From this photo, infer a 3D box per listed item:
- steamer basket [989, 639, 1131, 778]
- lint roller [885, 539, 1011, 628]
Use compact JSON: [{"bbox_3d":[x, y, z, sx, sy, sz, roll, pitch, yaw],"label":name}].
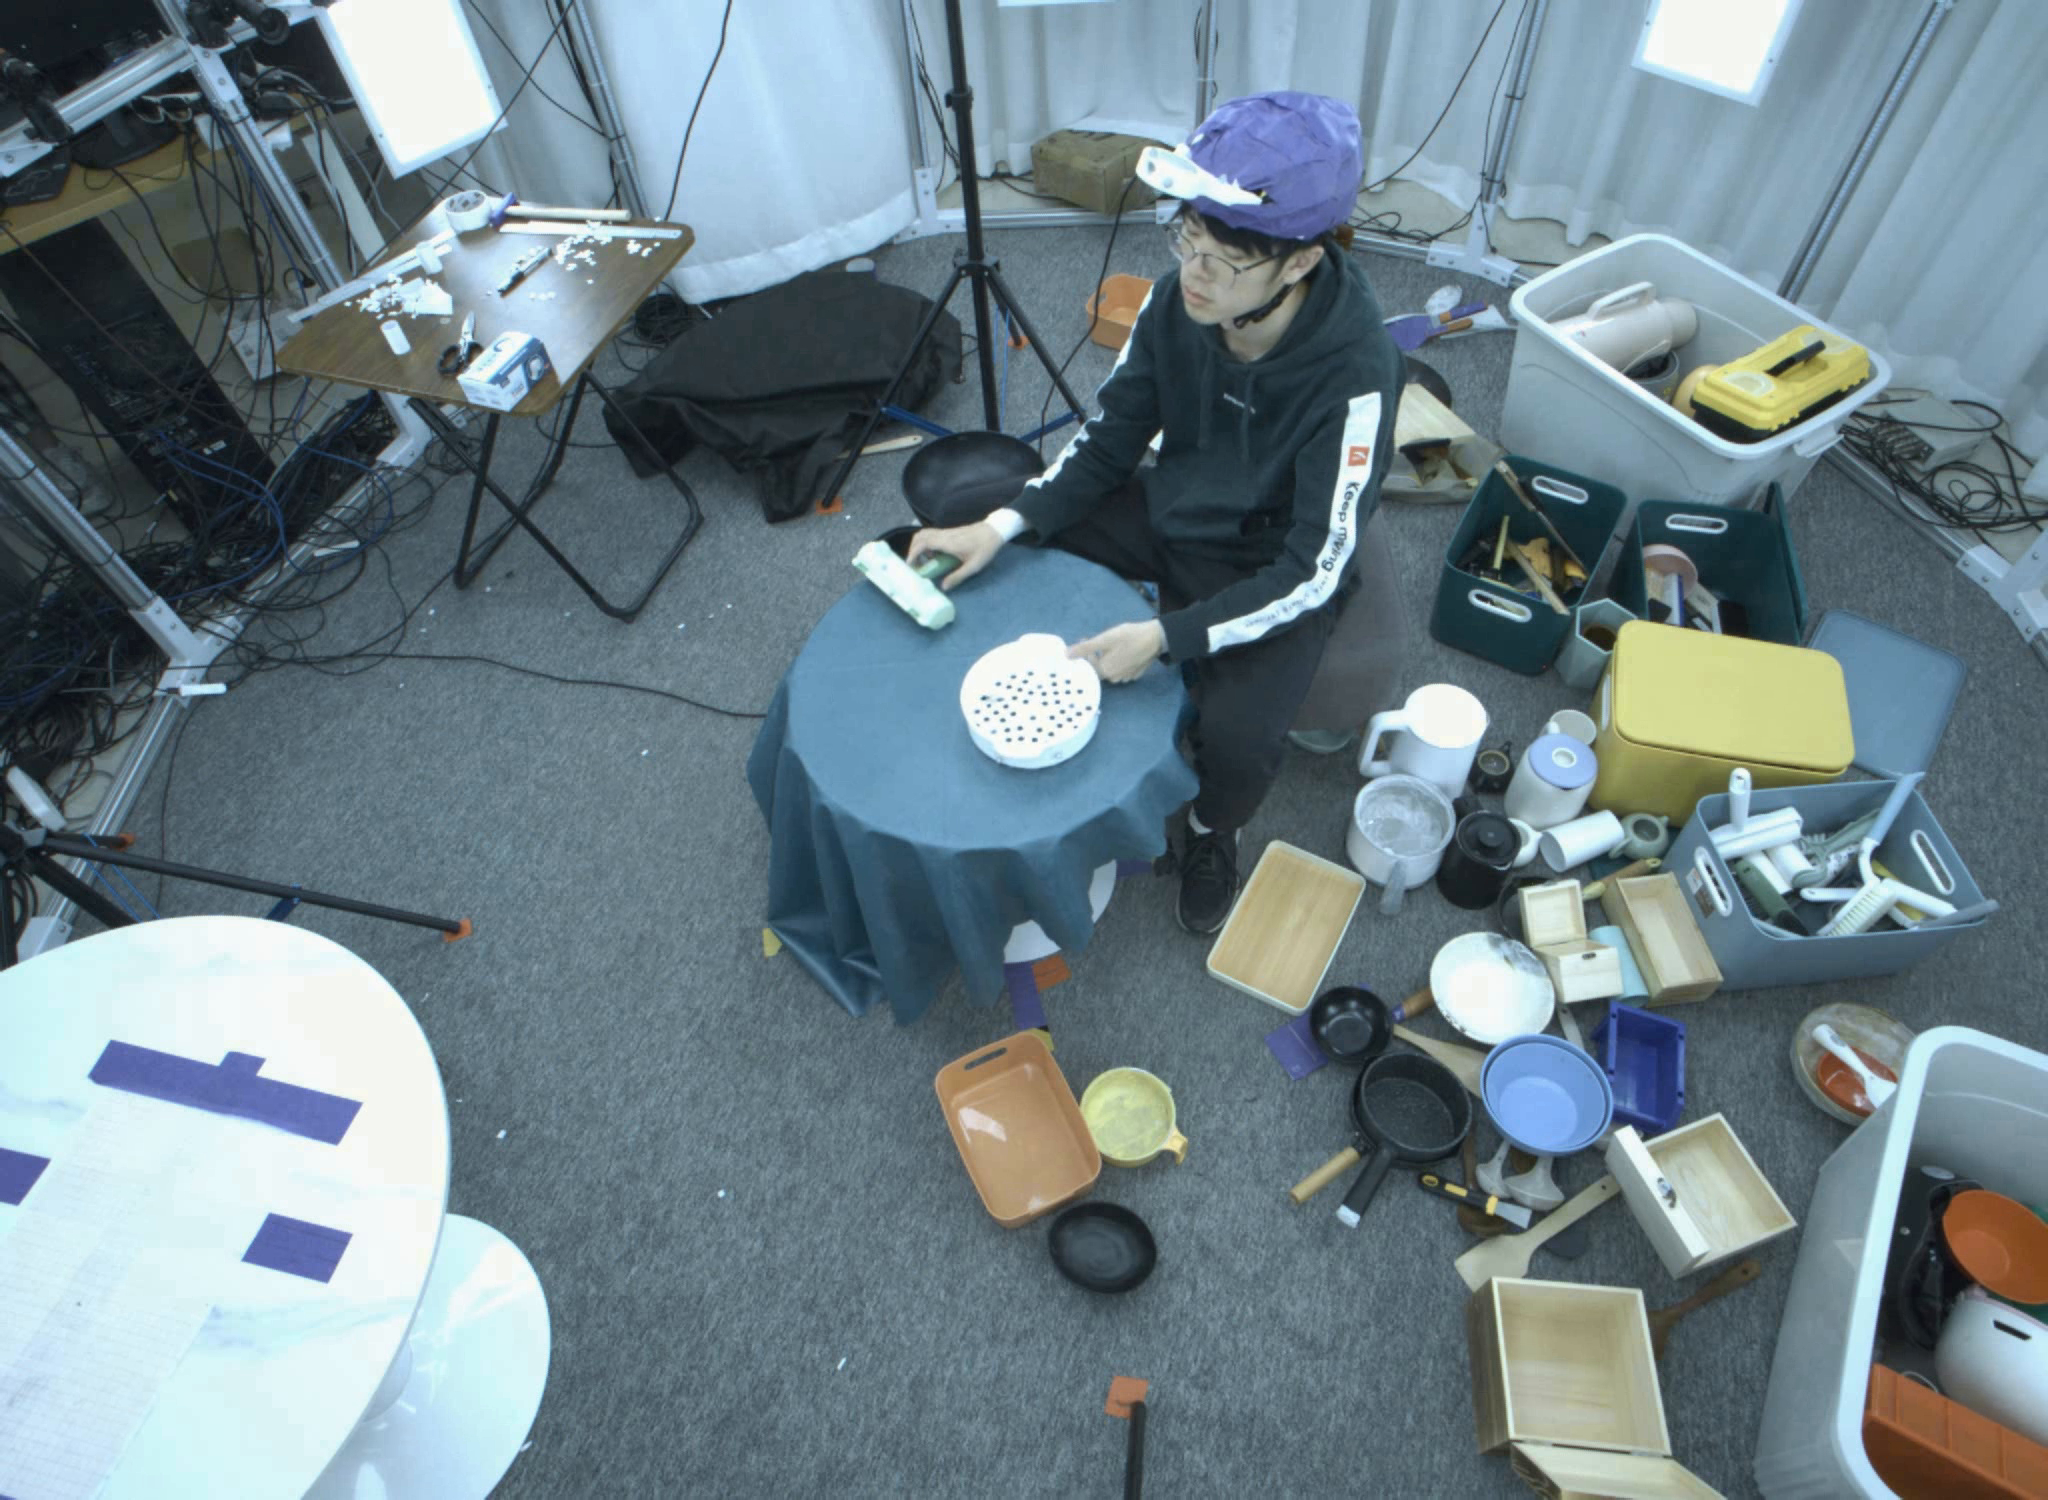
[{"bbox_3d":[0.053,-0.055,1.777,0.201,0.070,0.229,7,57,8],"label":"steamer basket"},{"bbox_3d":[-0.098,-0.300,1.951,0.184,0.083,0.195,-37,61,-17],"label":"lint roller"}]
